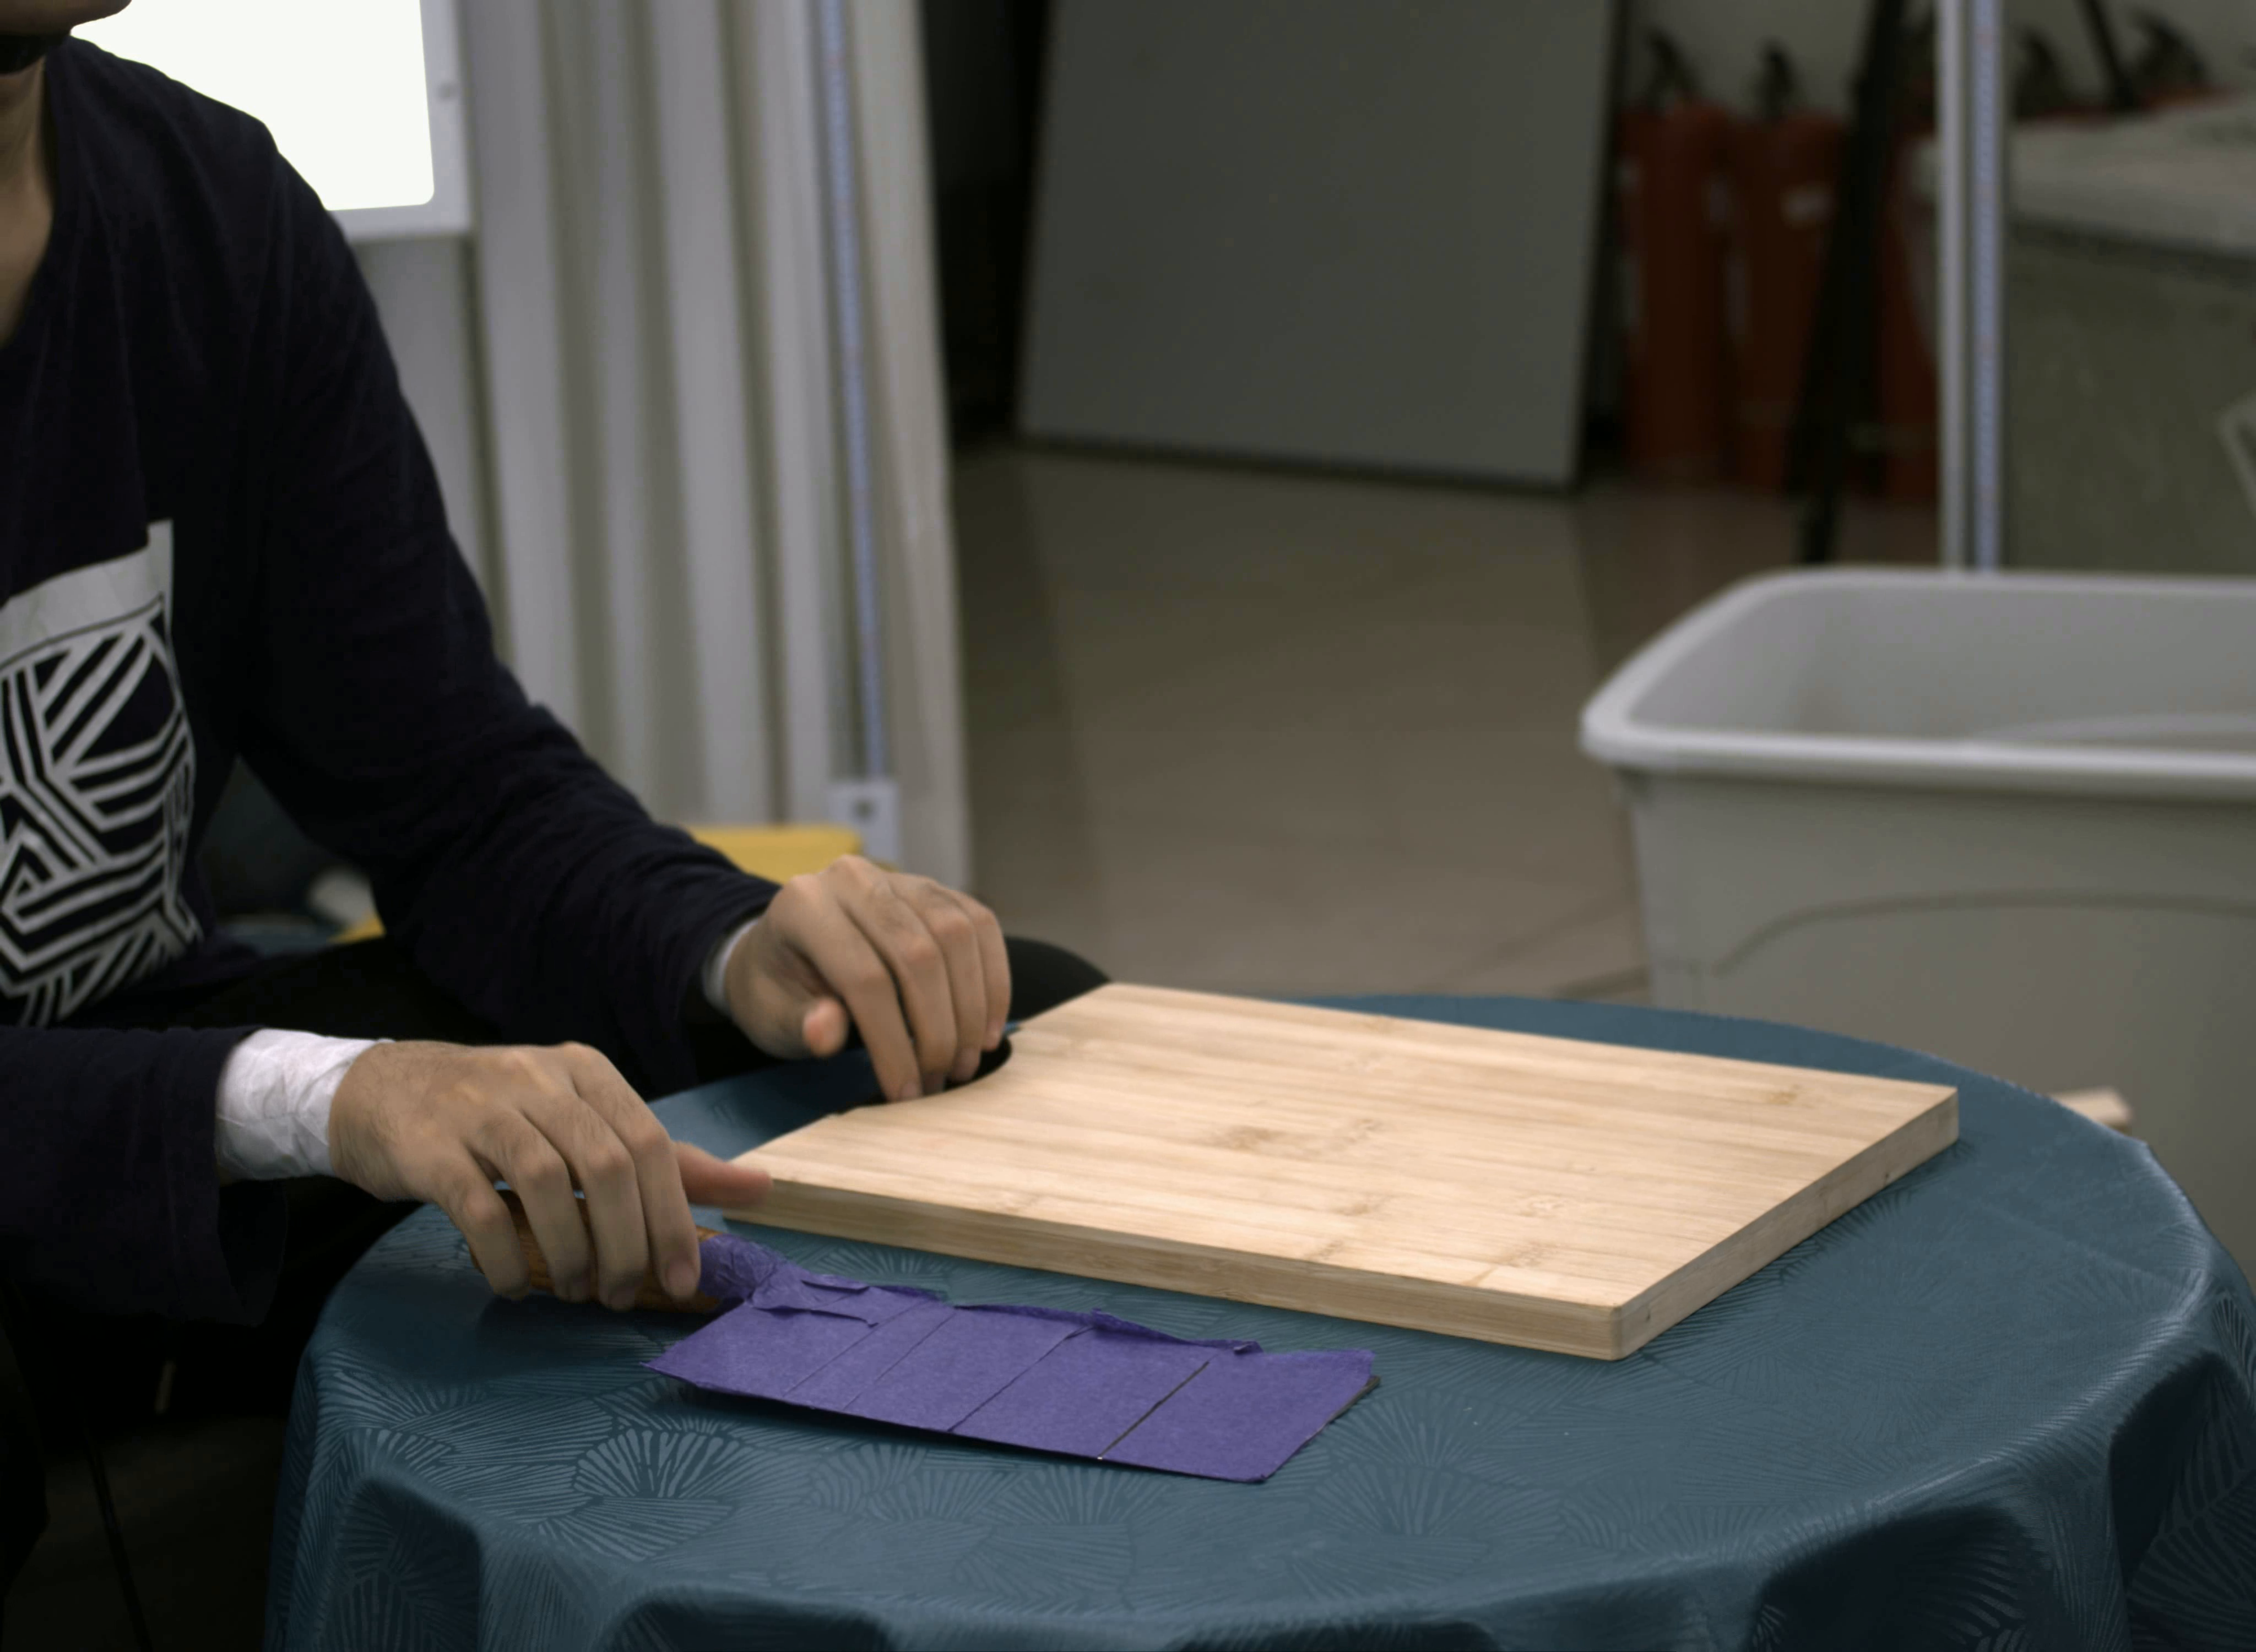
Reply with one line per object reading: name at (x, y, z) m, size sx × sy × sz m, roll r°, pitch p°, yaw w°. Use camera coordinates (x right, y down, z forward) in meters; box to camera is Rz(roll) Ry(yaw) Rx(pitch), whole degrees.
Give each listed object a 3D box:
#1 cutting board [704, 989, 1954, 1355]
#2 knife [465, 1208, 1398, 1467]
cutting board at (0.066, 0.109, 1.773) m, size 0.350 × 0.024 × 0.246 m, roll 5°, pitch 16°, yaw 34°
knife at (-0.078, 0.152, 1.614) m, size 0.316 × 0.032 × 0.102 m, roll 4°, pitch 15°, yaw 28°
